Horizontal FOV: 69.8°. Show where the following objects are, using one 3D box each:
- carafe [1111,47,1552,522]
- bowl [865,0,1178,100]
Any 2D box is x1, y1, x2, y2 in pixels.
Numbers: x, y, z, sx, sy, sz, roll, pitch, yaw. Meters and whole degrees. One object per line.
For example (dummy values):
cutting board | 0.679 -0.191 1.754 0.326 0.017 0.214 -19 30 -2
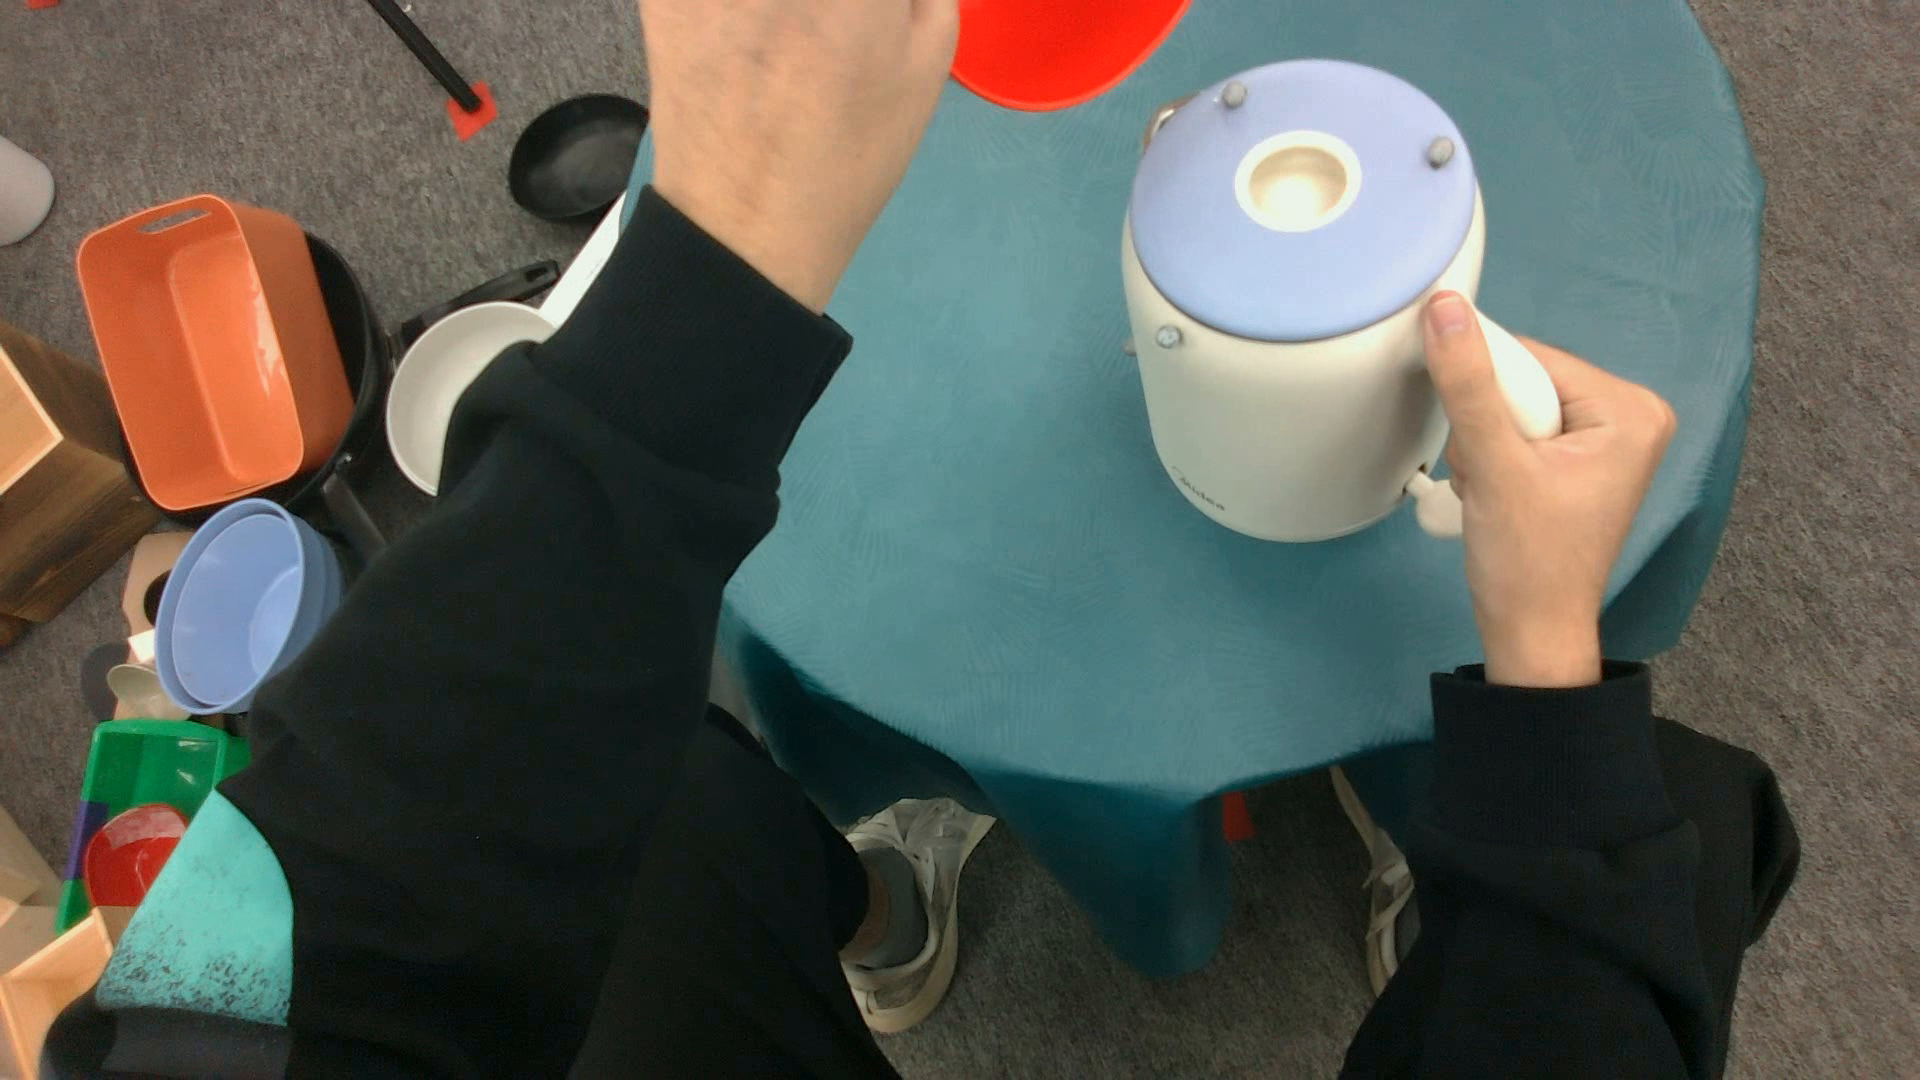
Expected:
carafe | 0.149 -0.082 0.555 0.191 0.182 0.132 40 81 22
bowl | 0.009 -0.219 0.438 0.104 0.148 0.148 27 78 49
